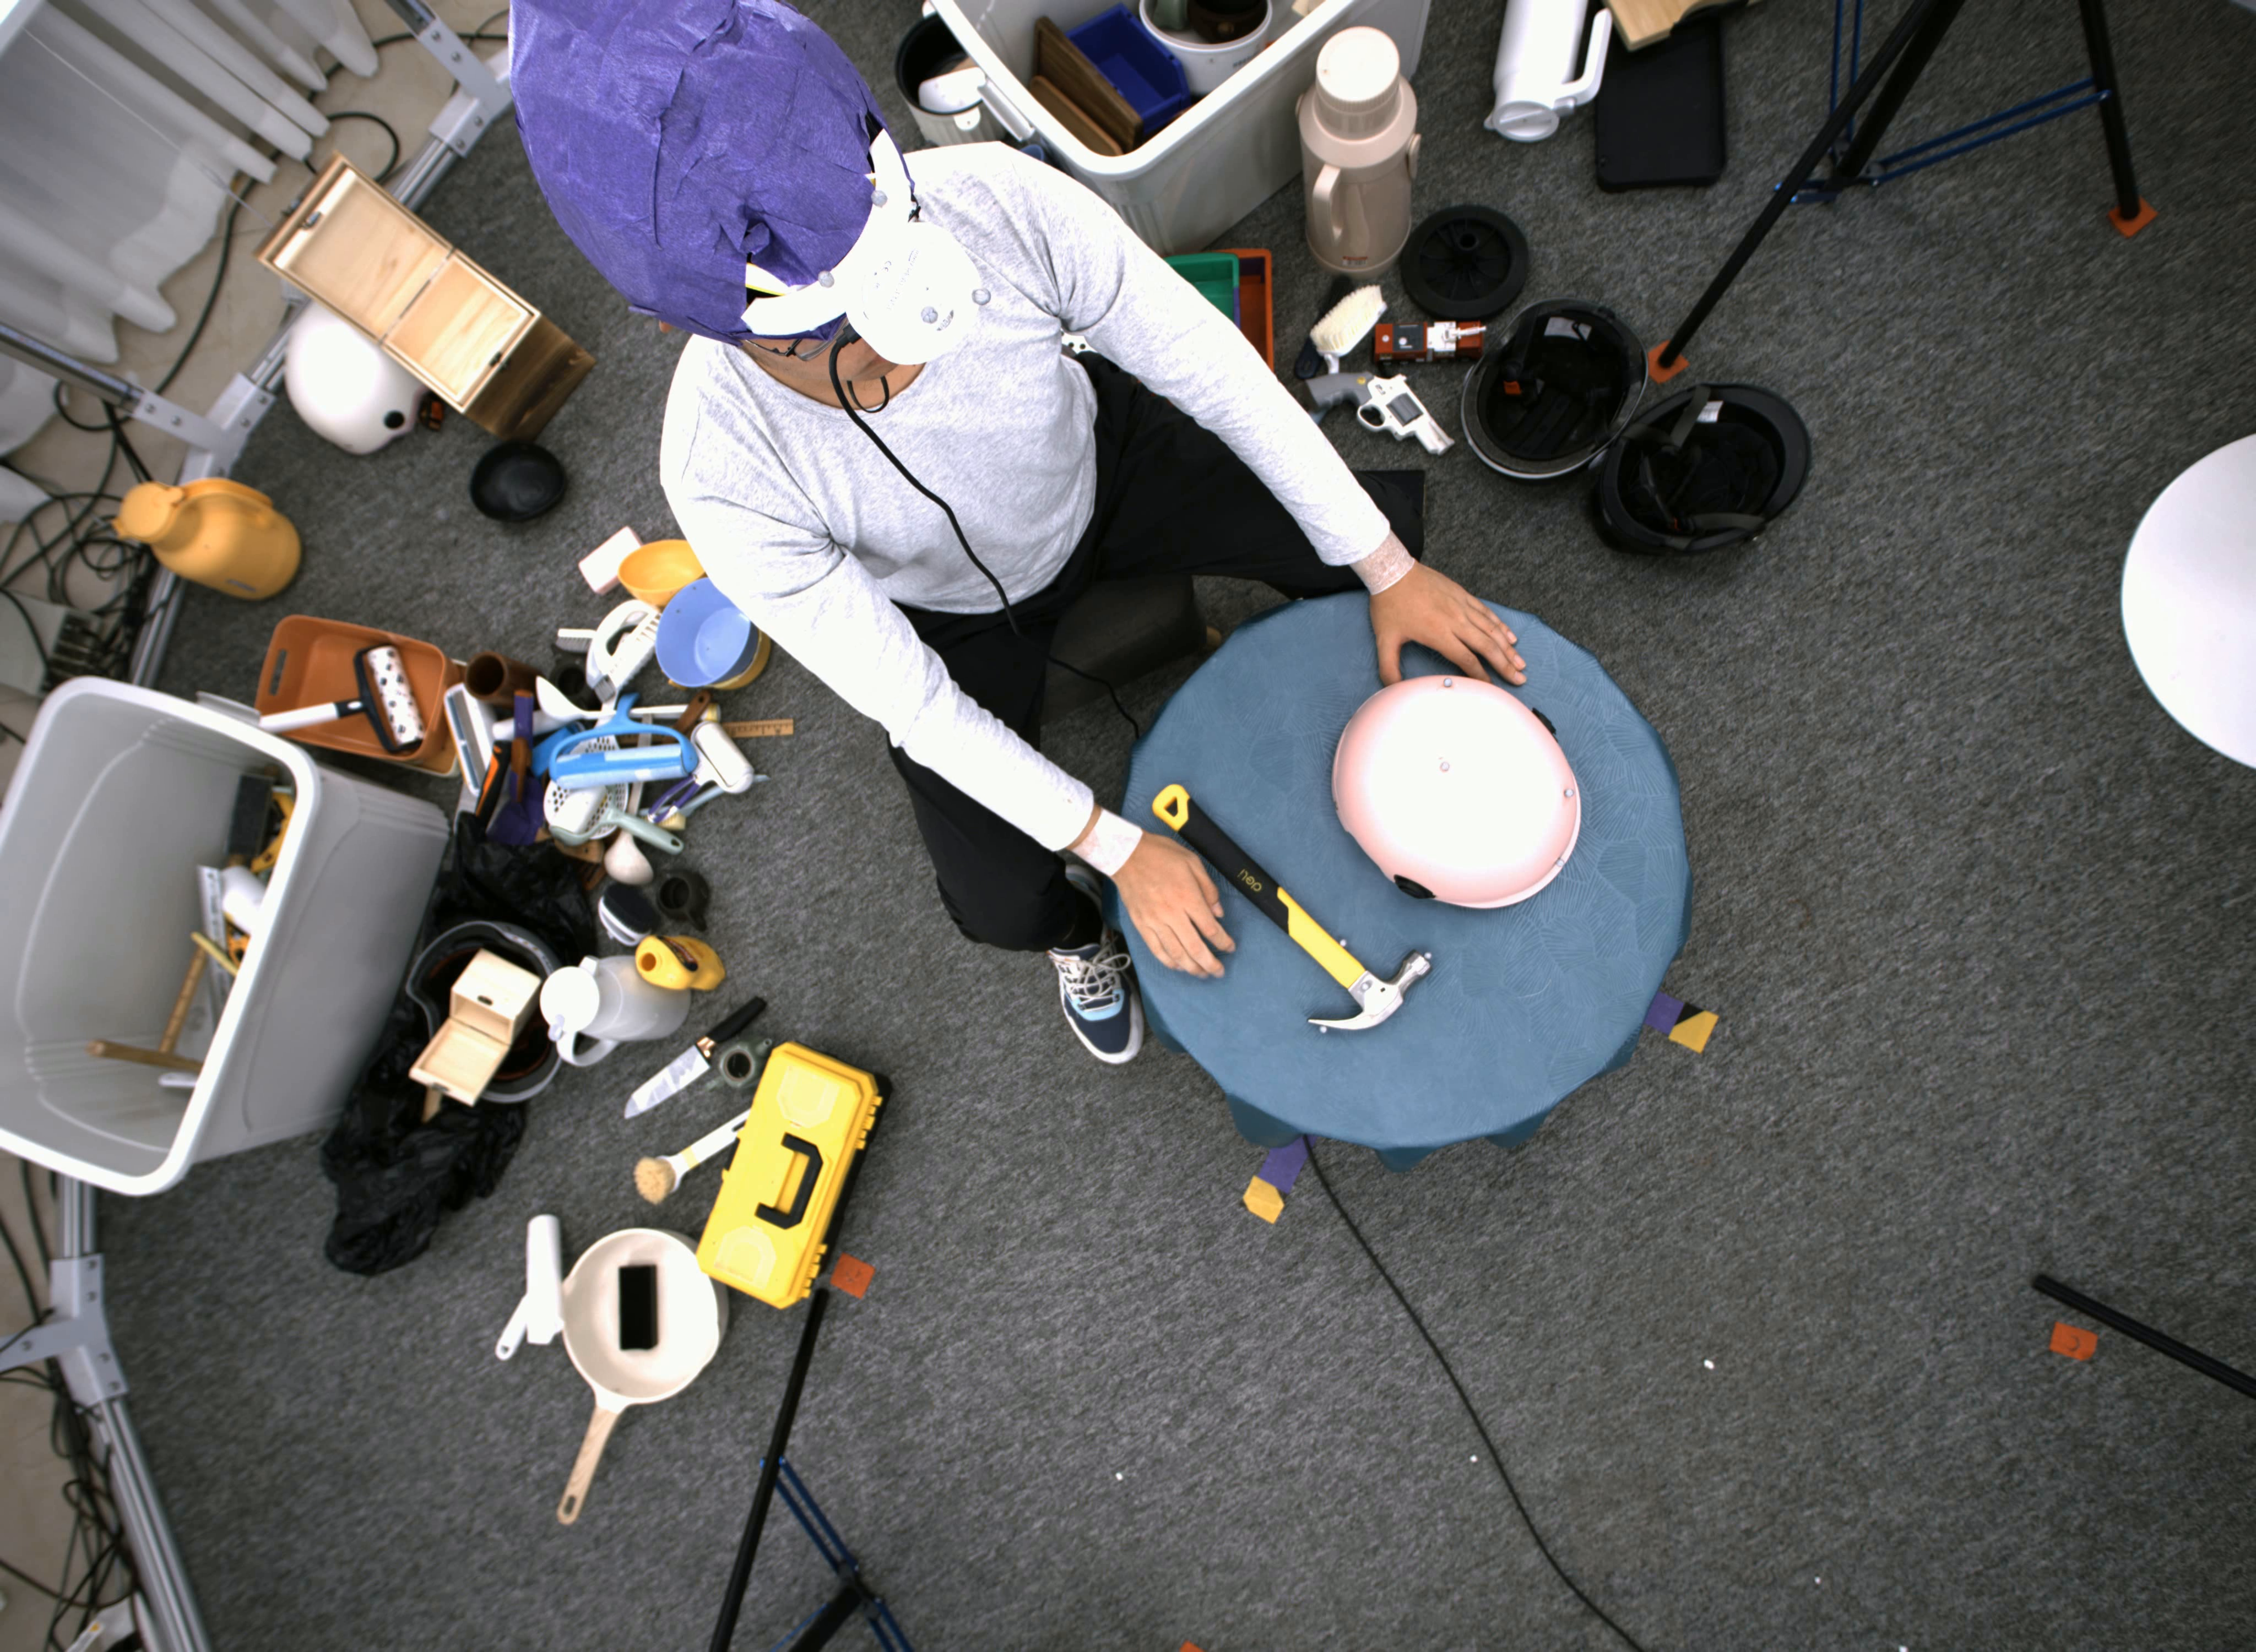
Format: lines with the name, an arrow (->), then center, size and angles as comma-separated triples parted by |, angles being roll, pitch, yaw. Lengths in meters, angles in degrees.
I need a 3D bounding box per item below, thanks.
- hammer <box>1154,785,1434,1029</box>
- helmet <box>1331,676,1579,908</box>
hammer -> 0.156, 0.079, 1.468 | 0.337, 0.032, 0.132 | 44, 96, 11
helmet -> 0.335, -0.041, 1.379 | 0.265, 0.159, 0.235 | 38, 93, 7
